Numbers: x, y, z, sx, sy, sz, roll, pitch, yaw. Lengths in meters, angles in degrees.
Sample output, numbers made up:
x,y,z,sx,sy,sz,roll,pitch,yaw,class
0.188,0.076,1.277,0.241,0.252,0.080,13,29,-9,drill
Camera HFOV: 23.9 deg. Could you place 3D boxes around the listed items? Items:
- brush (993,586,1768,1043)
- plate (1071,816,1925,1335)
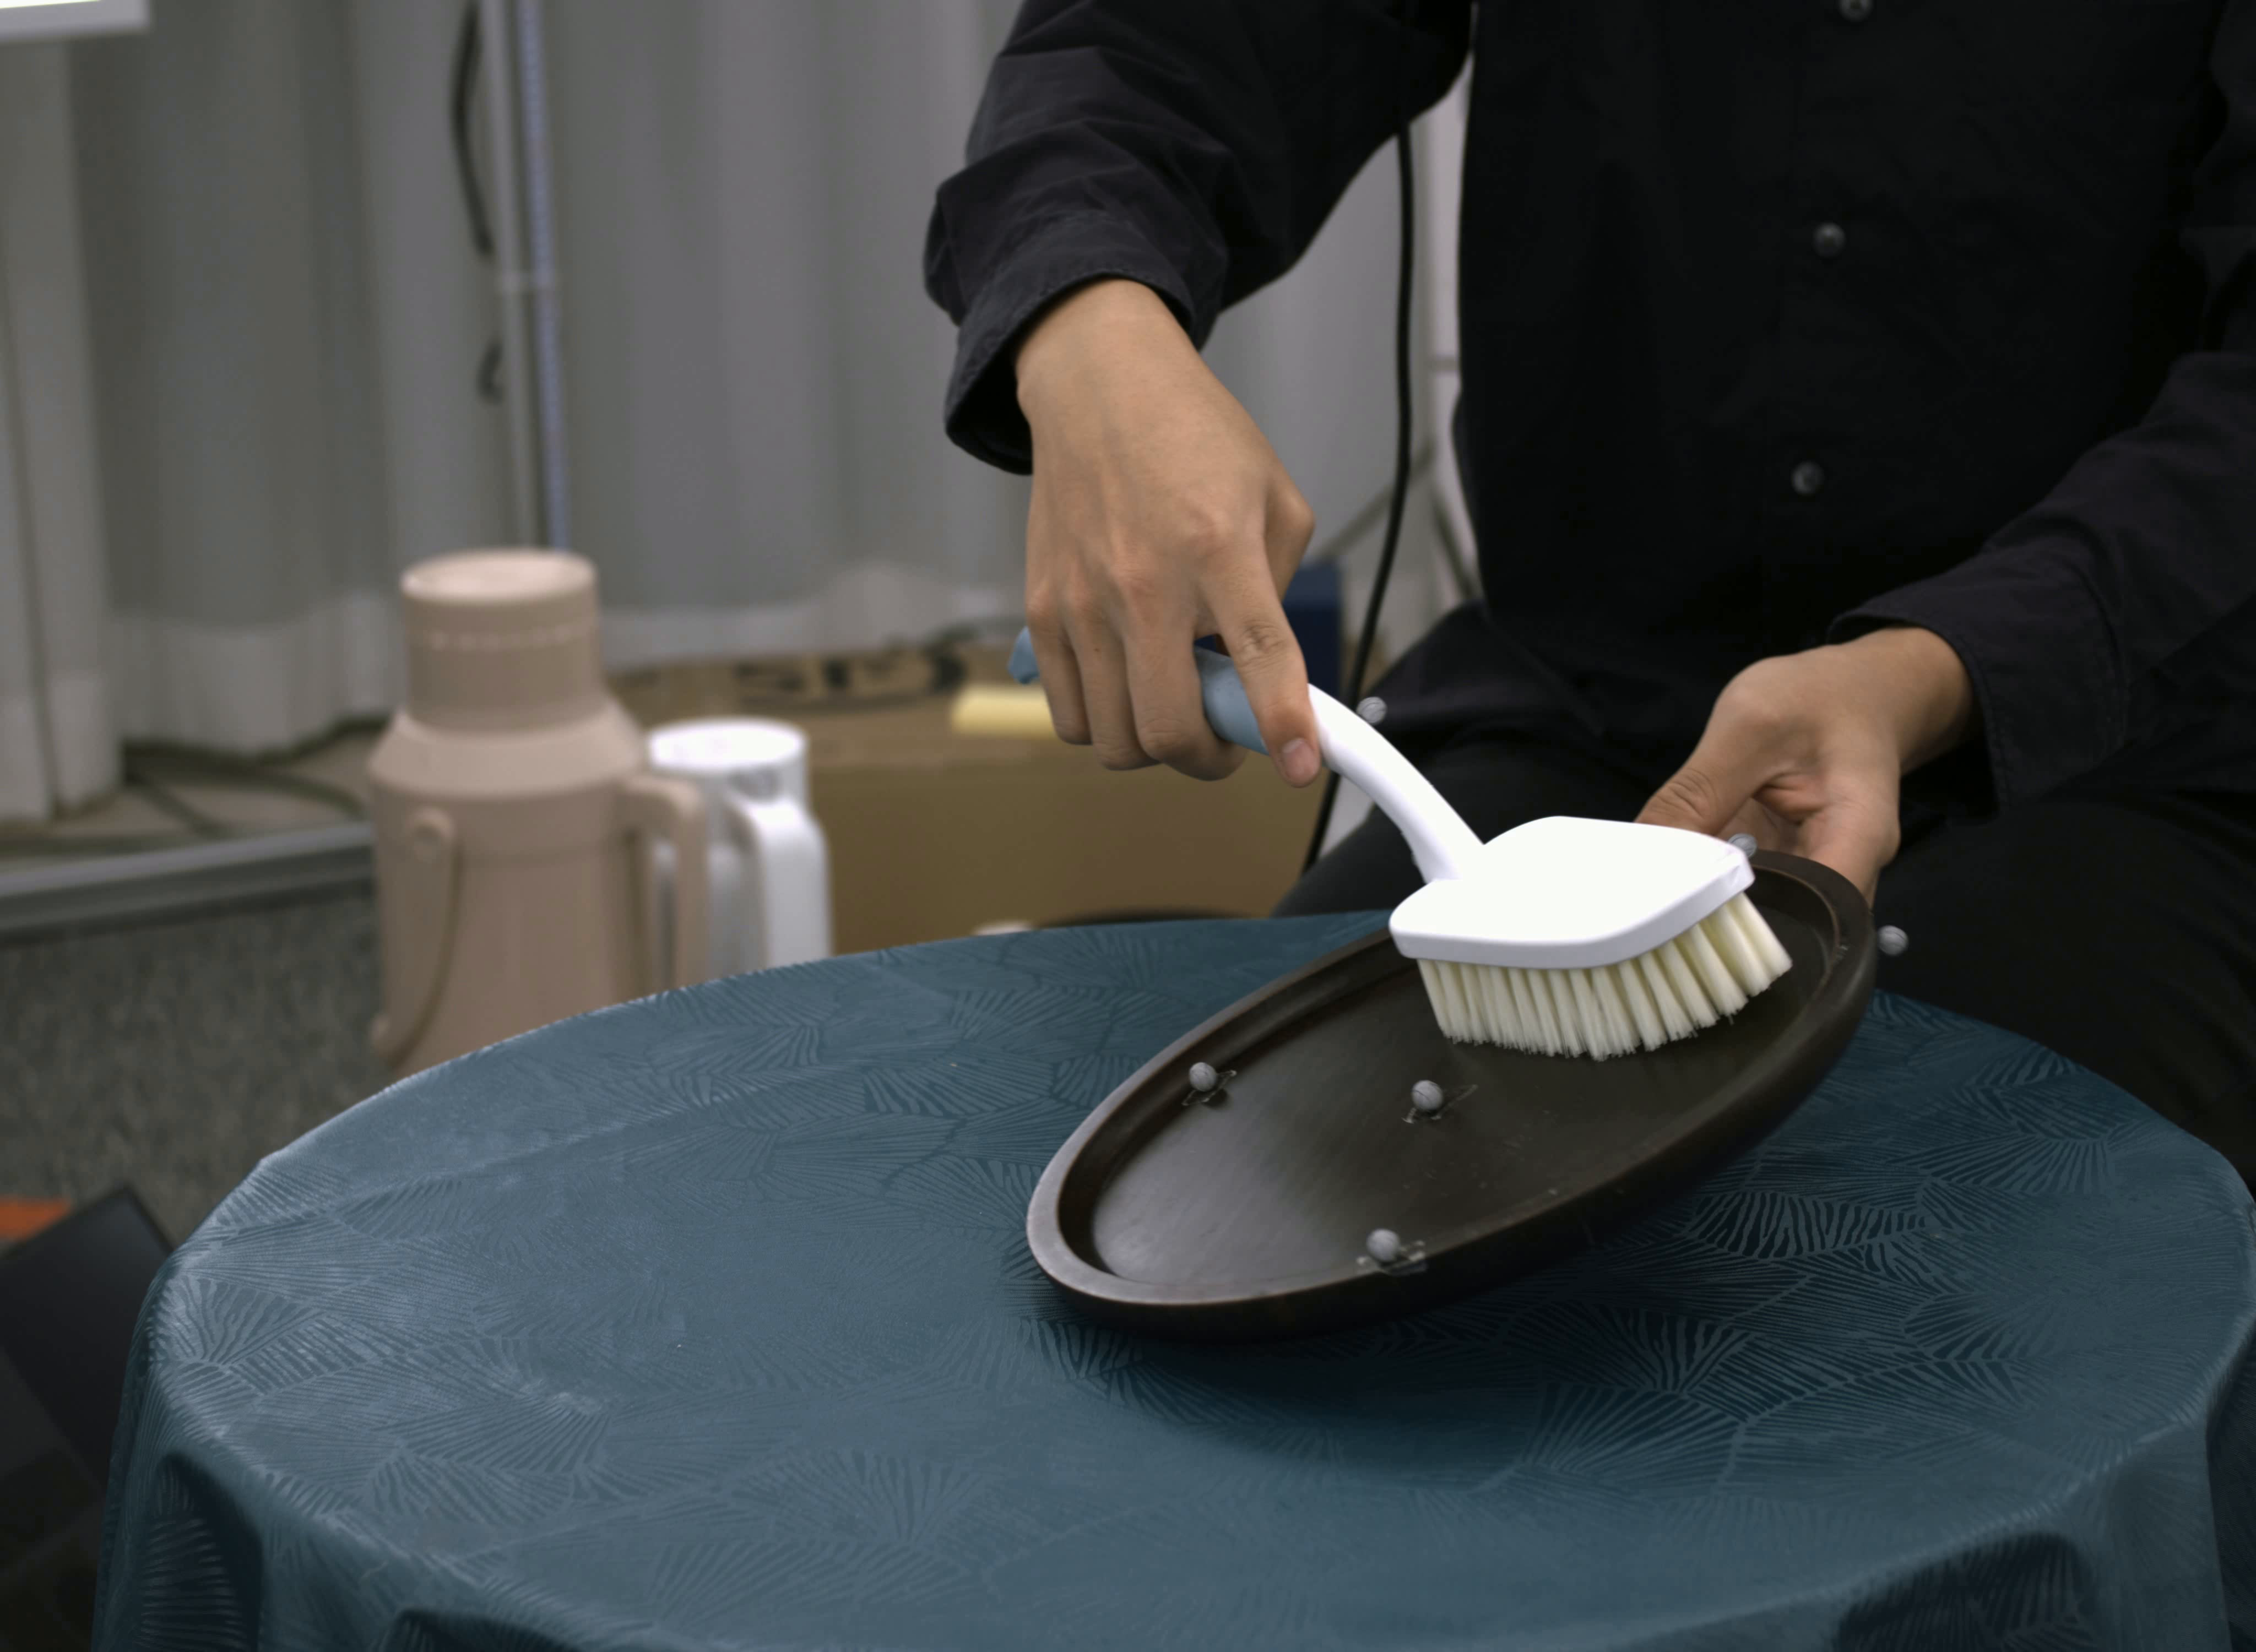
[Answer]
x,y,z,sx,sy,sz,roll,pitch,yaw,class
0.072,0.004,1.577,0.081,0.085,0.333,9,8,-39,brush
0.104,0.070,1.481,0.255,0.029,0.256,-24,17,6,plate
